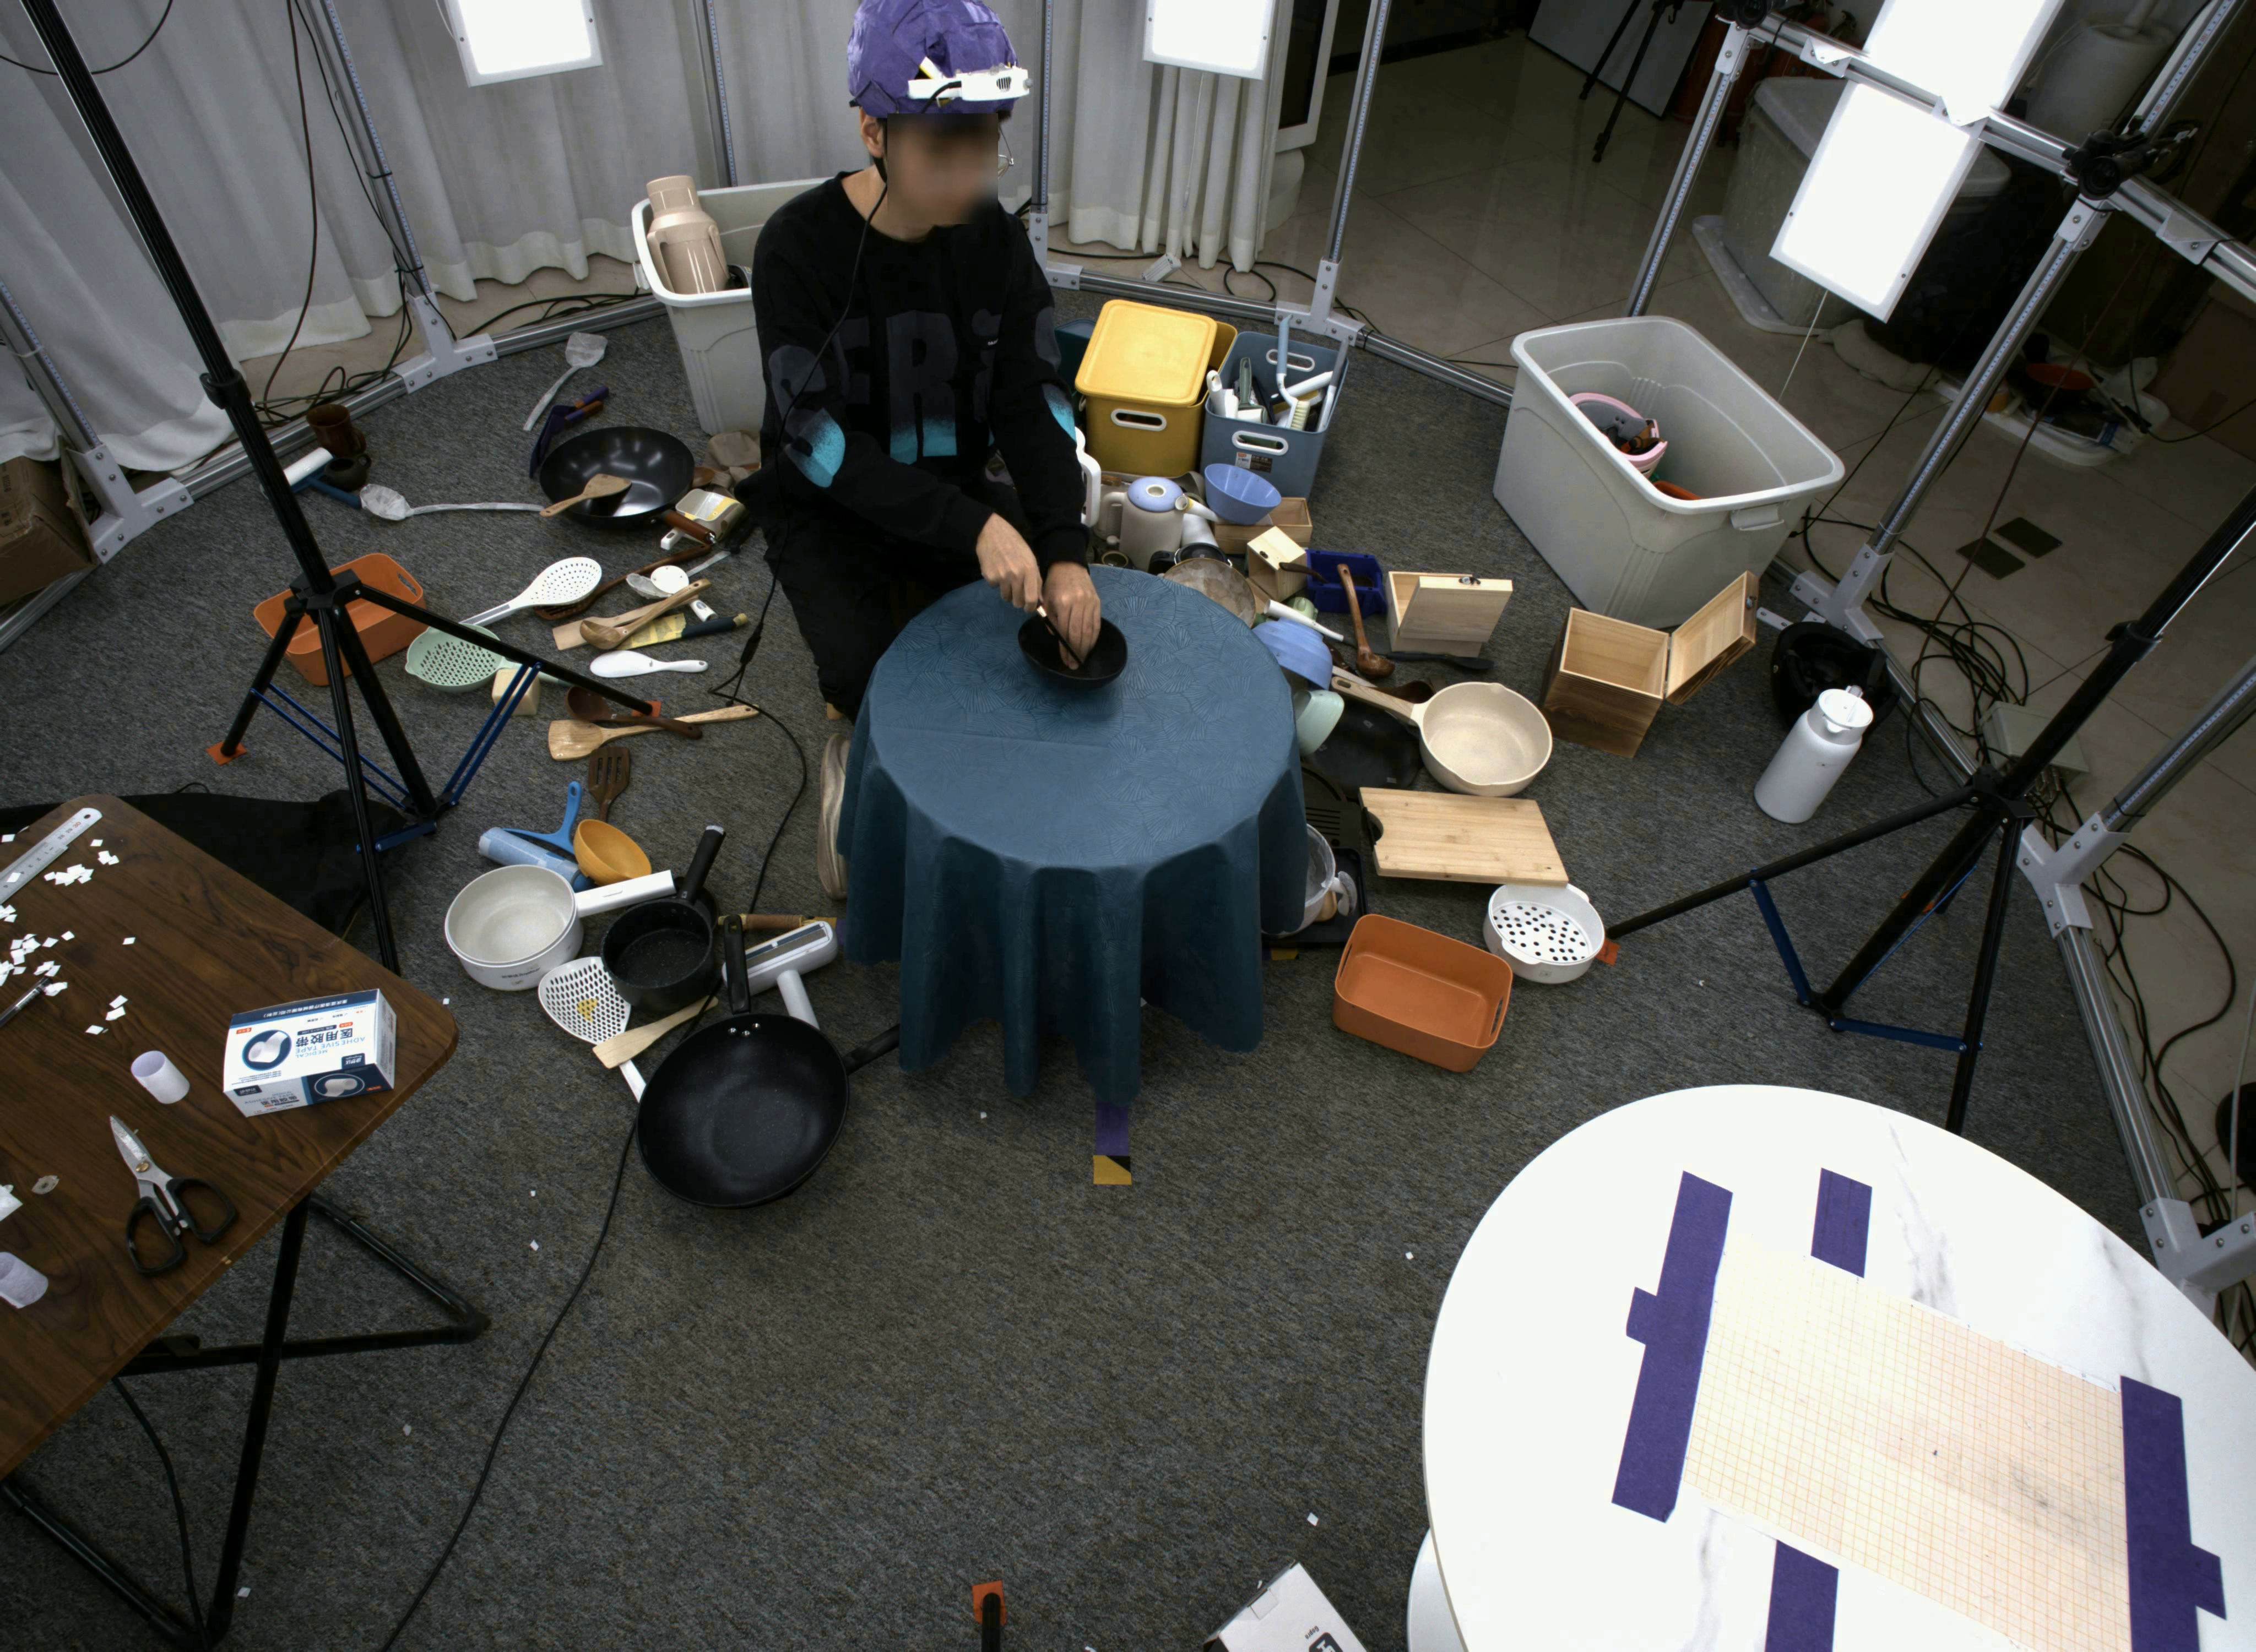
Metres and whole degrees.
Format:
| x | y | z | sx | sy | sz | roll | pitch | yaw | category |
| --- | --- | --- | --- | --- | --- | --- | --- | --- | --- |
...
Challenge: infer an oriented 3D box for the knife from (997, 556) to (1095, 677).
| x | y | z | sx | sy | sz | roll | pitch | yaw | category |
| --- | --- | --- | --- | --- | --- | --- | --- | --- | --- |
| -0.112 | -0.292 | 1.826 | 0.017 | 0.026 | 0.226 | -38 | 88 | -12 | knife |

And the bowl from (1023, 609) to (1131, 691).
| x | y | z | sx | sy | sz | roll | pitch | yaw | category |
| --- | --- | --- | --- | --- | --- | --- | --- | --- | --- |
| -0.075 | -0.240 | 1.831 | 0.172 | 0.065 | 0.139 | 31 | 54 | 24 | bowl |
